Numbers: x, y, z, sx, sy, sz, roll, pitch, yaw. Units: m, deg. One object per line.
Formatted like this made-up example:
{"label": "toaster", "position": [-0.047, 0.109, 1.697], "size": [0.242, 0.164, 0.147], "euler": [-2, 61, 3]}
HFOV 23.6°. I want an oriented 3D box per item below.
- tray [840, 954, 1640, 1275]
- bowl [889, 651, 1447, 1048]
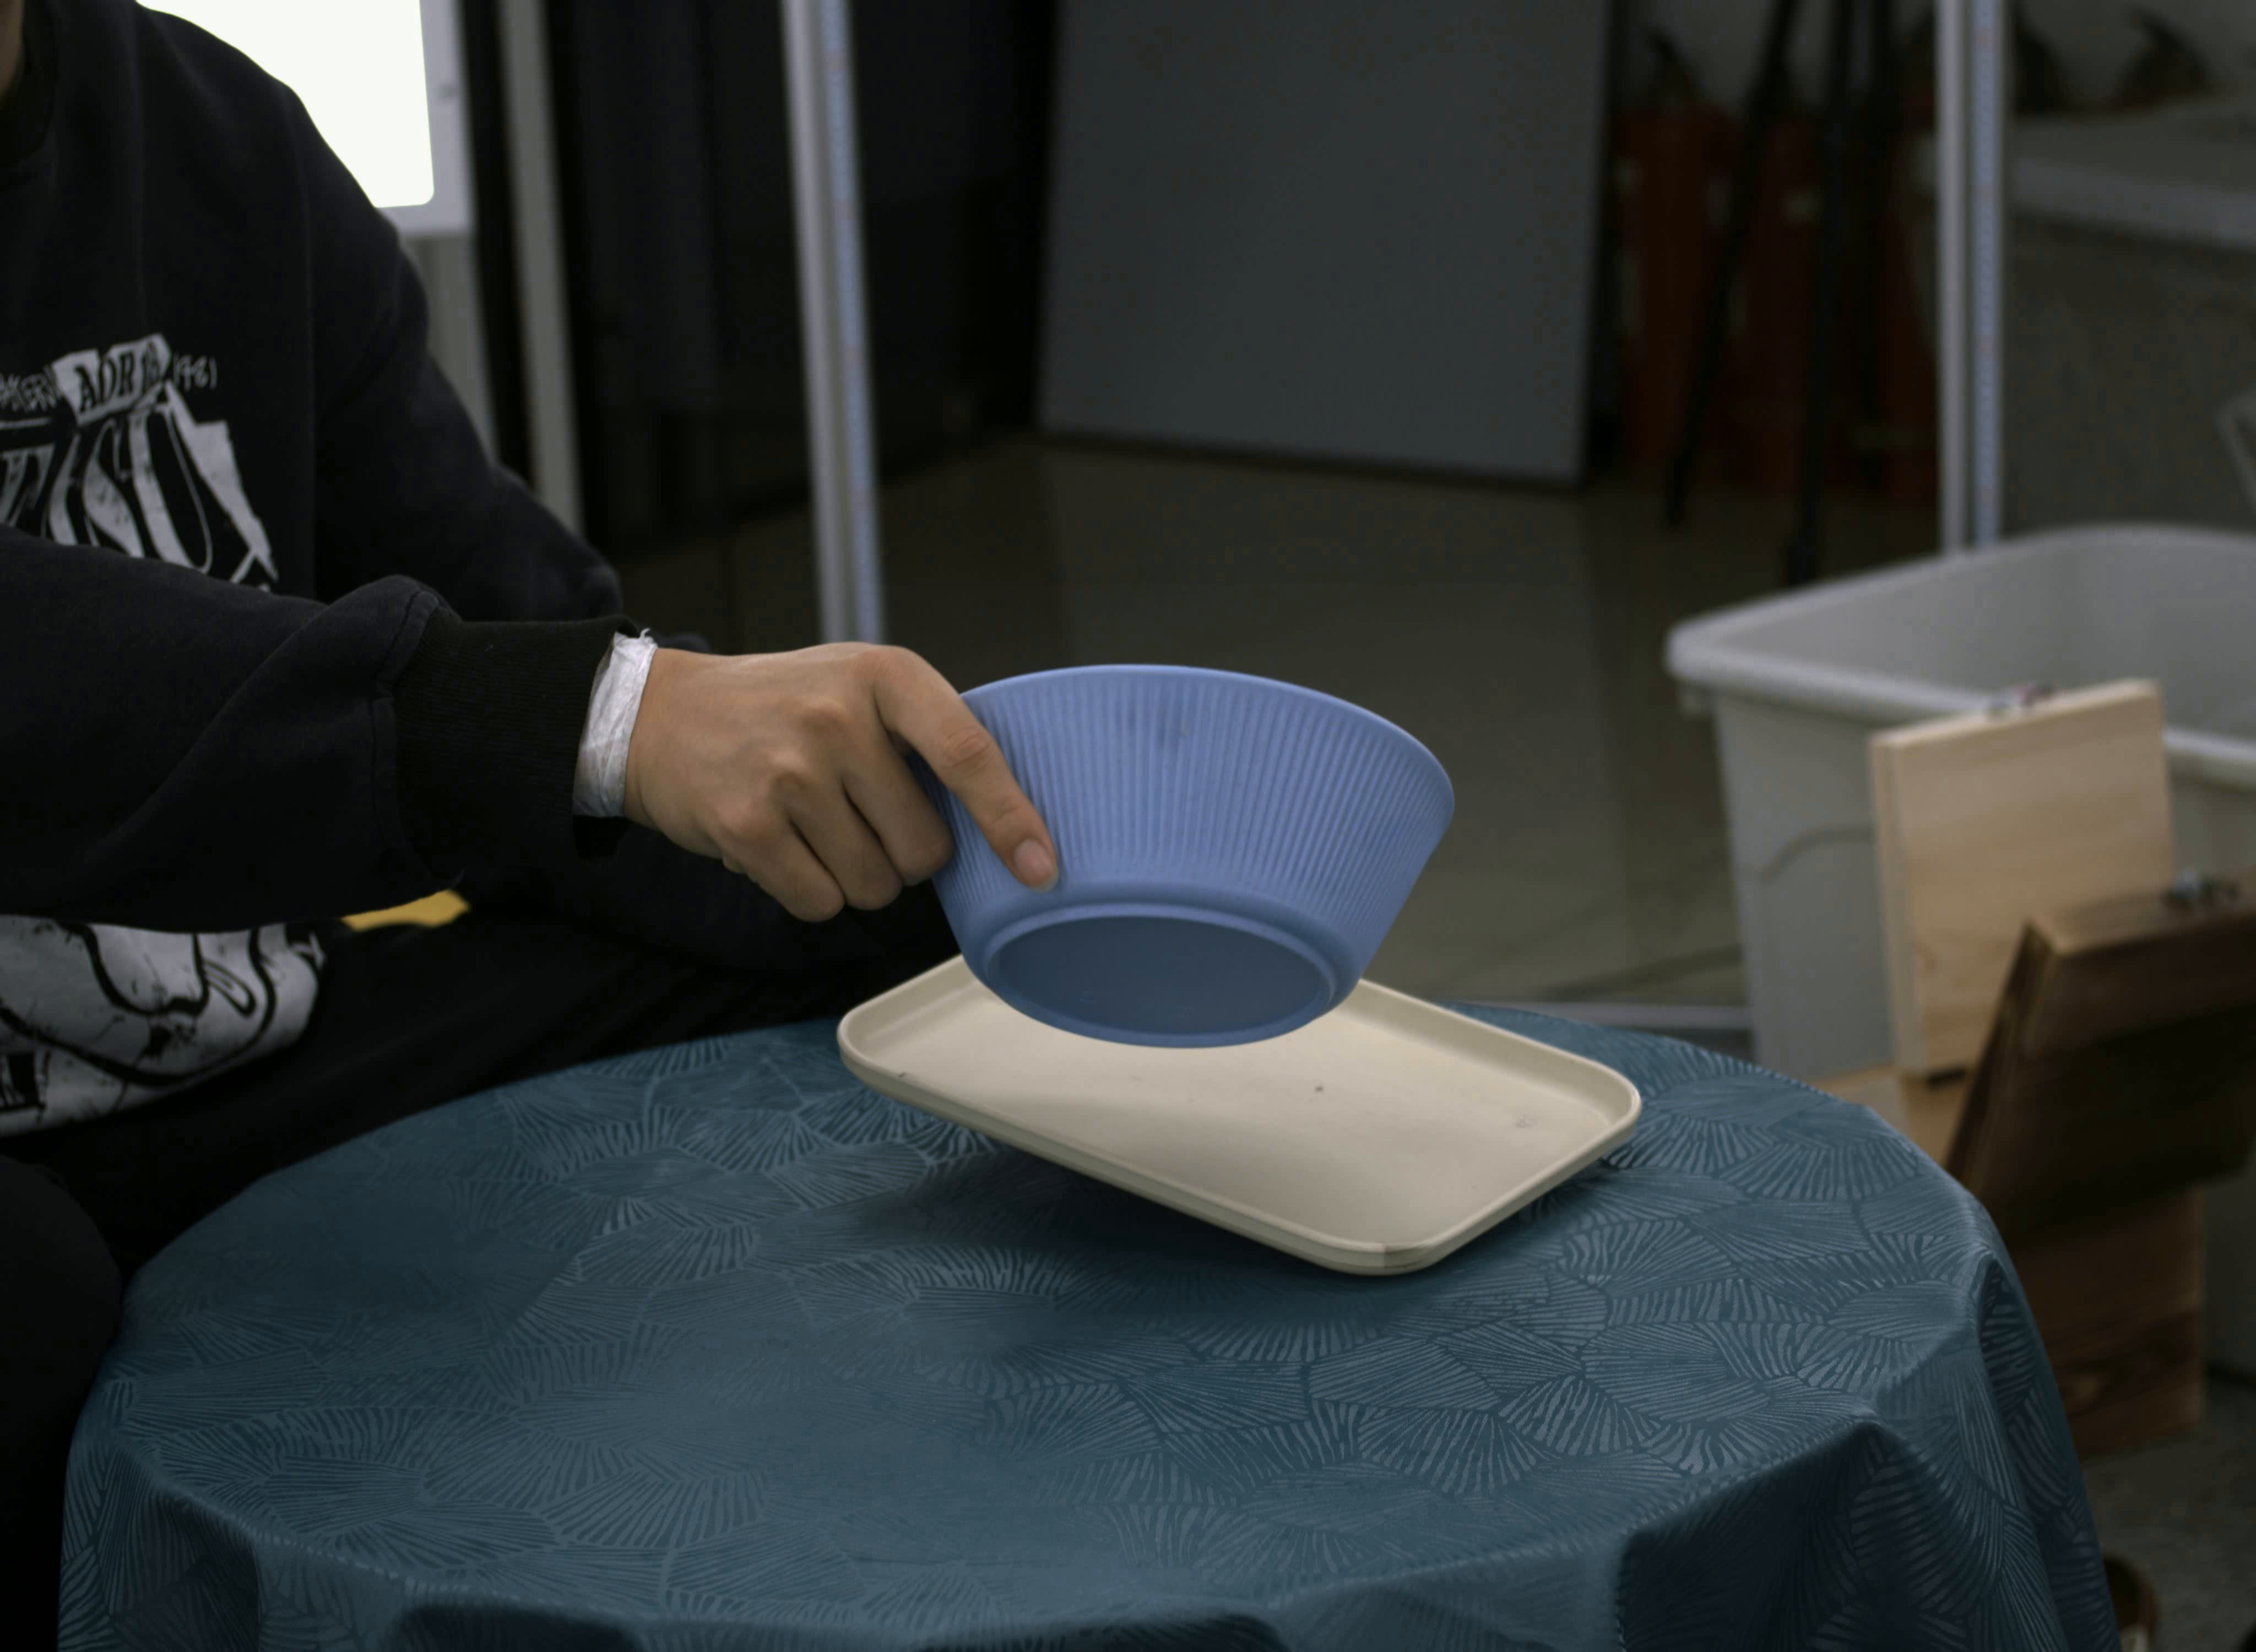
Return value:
{"label": "tray", "position": [0.036, 0.085, 1.774], "size": [0.241, 0.017, 0.168], "euler": [19, 27, 33]}
{"label": "bowl", "position": [0.010, 0.015, 1.661], "size": [0.174, 0.071, 0.176], "euler": [5, -25, 1]}
